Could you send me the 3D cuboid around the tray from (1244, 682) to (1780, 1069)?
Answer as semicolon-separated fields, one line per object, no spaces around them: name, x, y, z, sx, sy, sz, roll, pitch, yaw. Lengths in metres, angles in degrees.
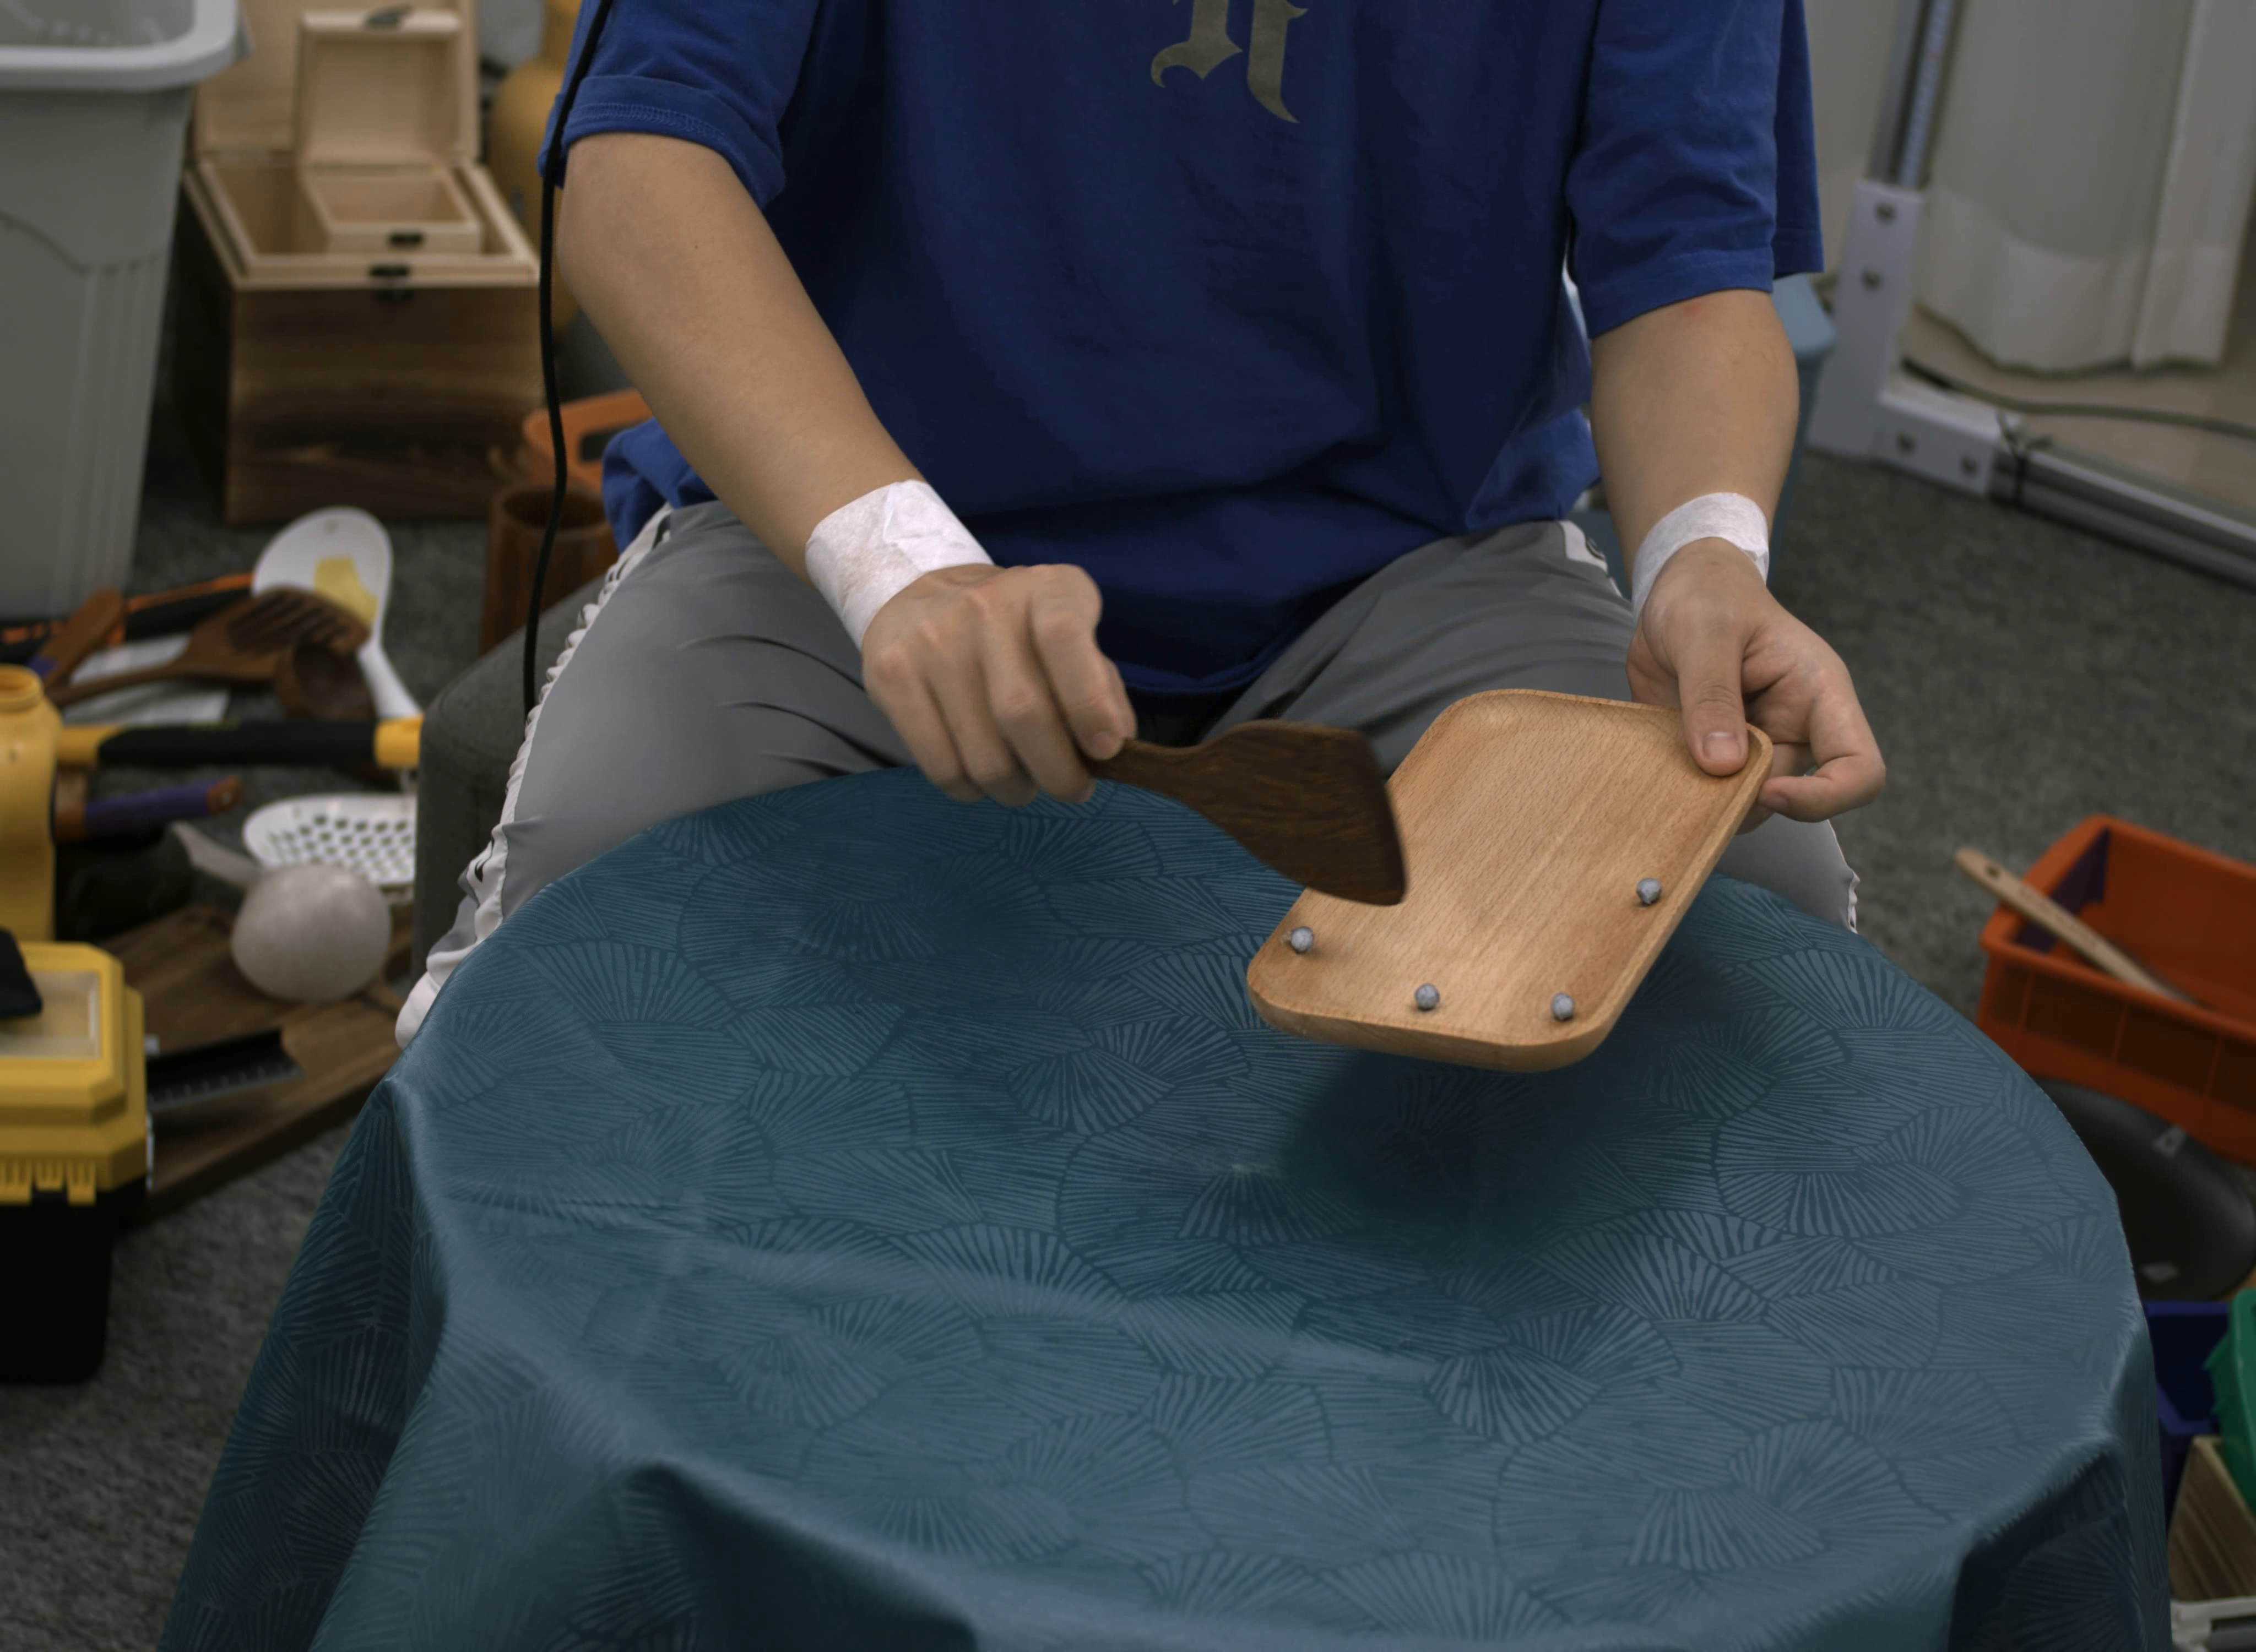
tray;0.137;0.014;1.856;0.131;0.023;0.251;11;30;21

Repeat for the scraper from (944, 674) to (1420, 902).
scraper;0.014;-0.023;1.851;0.212;0.075;0.011;15;43;40
